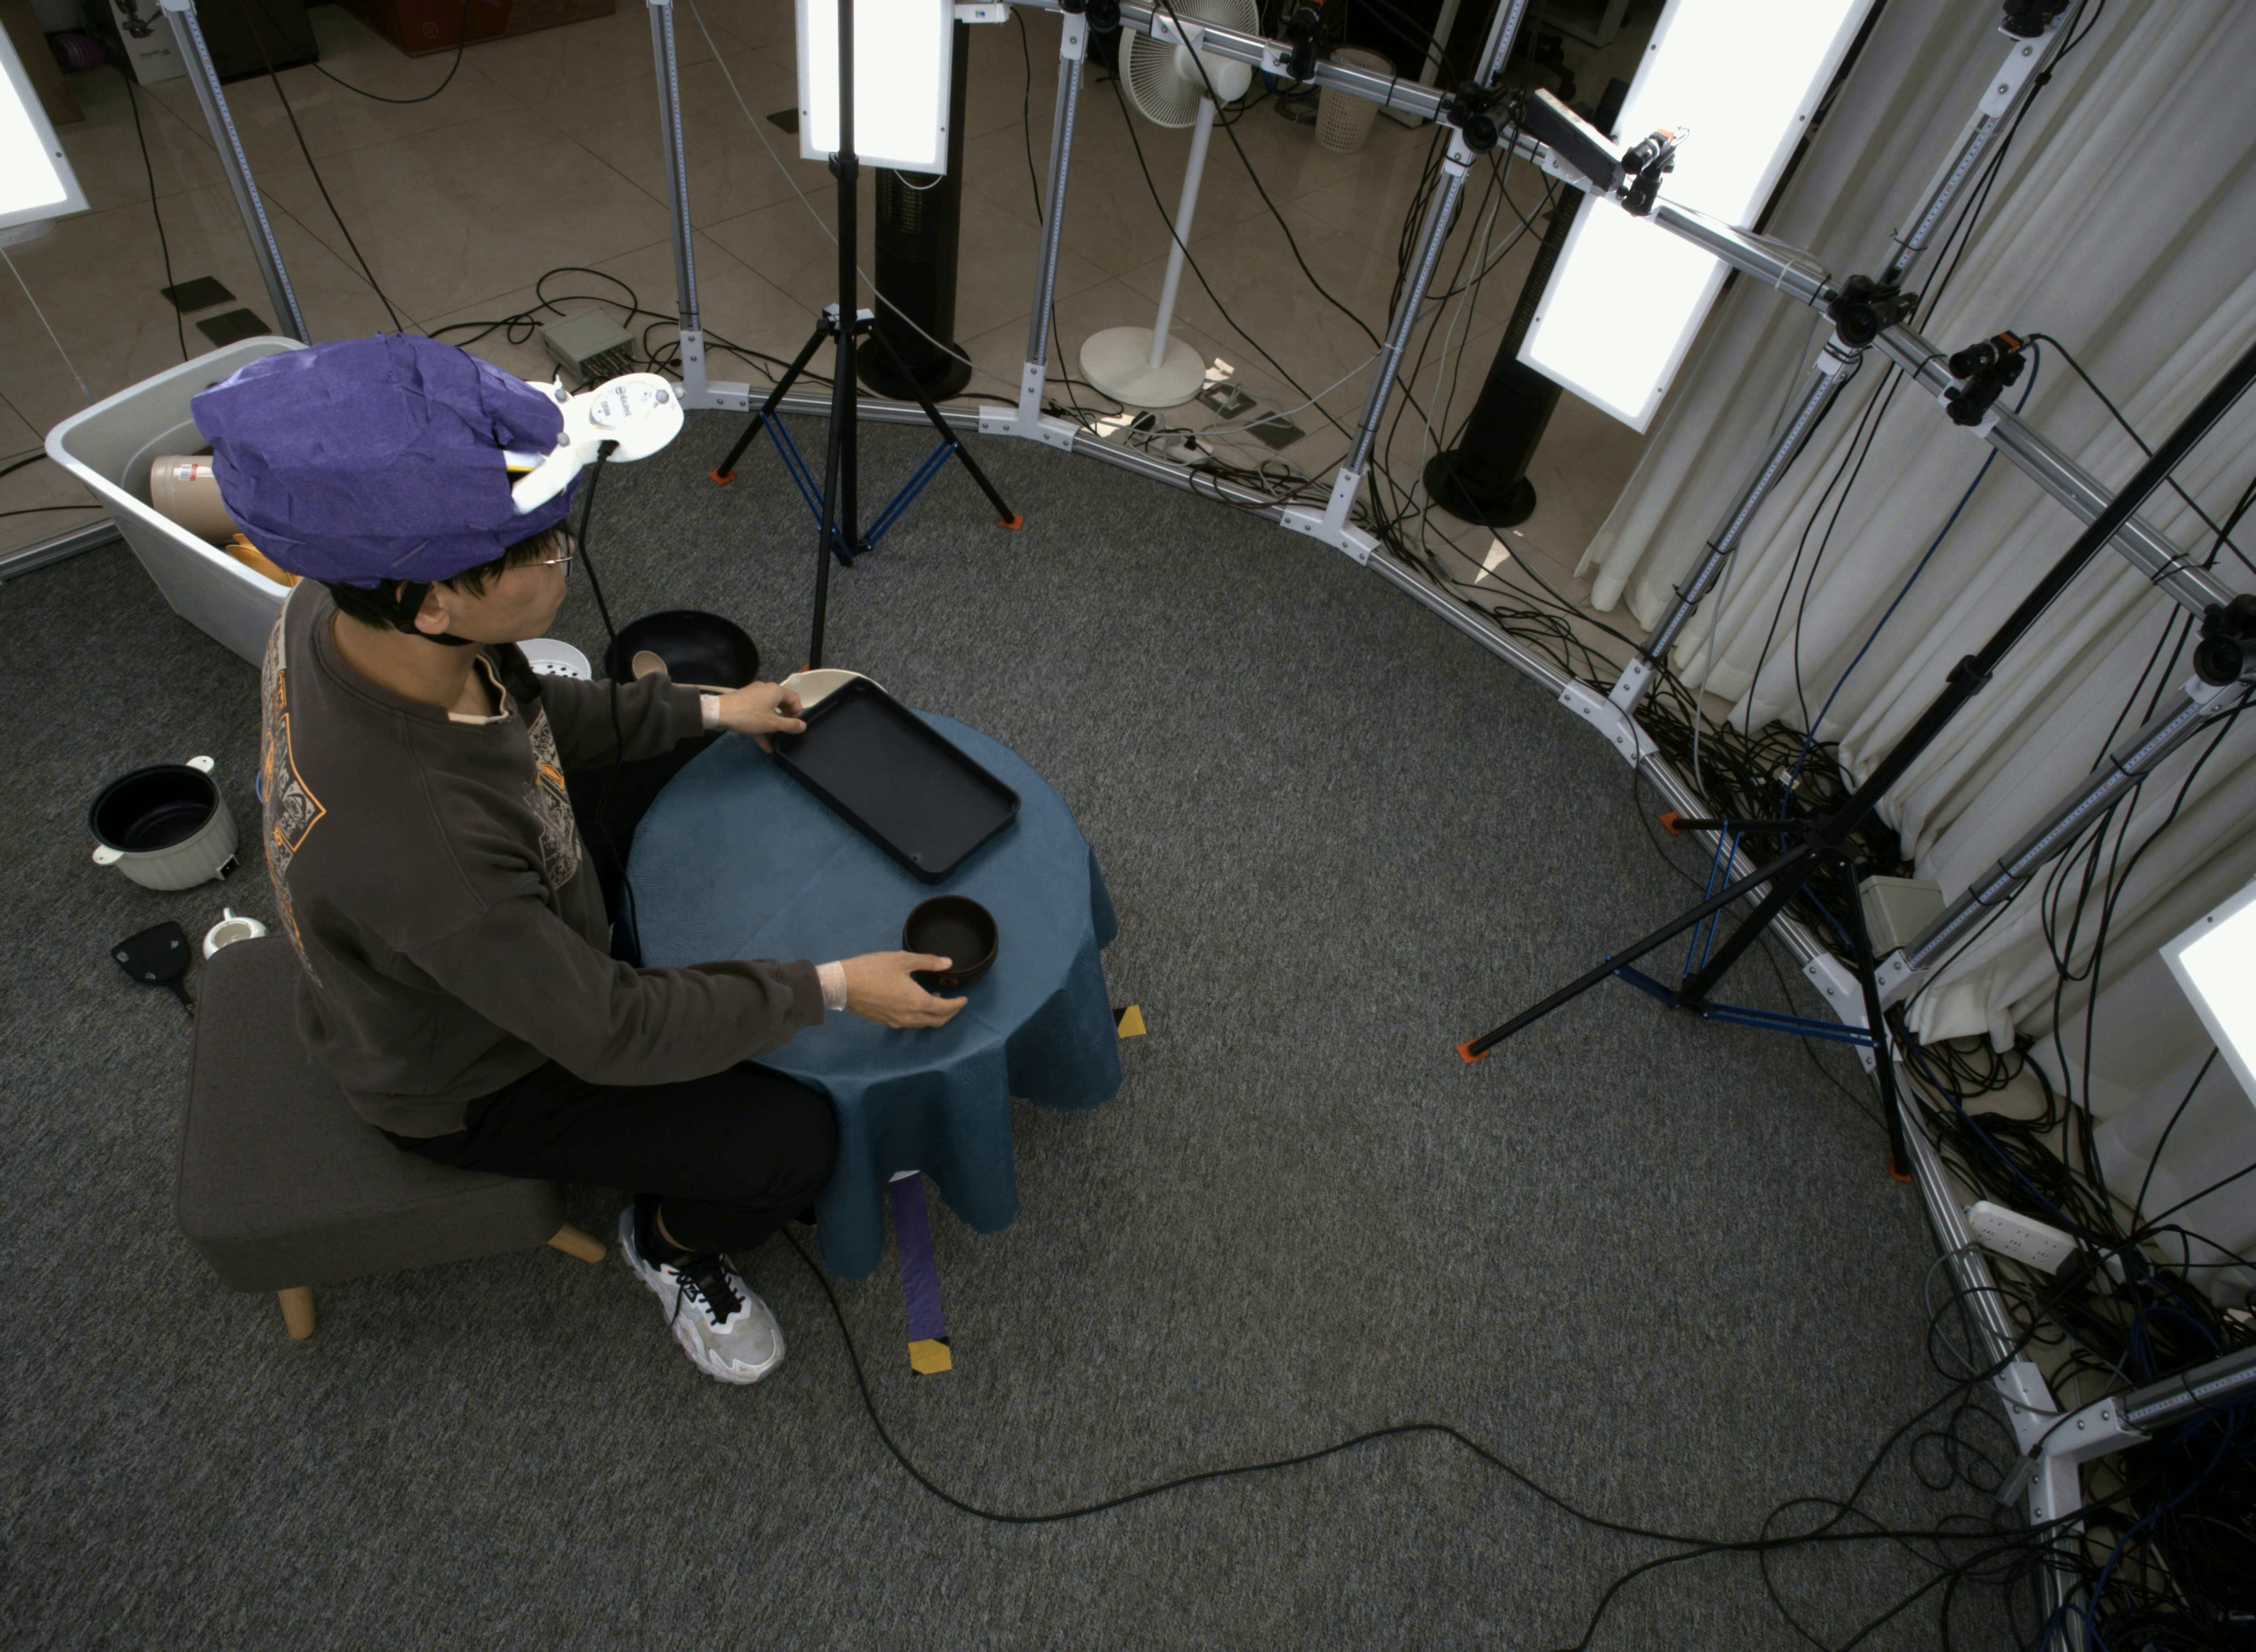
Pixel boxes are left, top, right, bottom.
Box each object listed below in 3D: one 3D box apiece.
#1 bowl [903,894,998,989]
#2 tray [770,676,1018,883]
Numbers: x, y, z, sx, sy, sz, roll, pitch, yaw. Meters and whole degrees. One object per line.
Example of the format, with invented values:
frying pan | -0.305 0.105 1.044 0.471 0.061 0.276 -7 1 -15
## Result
bowl | -0.223 0.150 1.631 0.117 0.071 0.116 6 54 -7
tray | -0.322 -0.068 1.788 0.312 0.038 0.184 36 56 12
